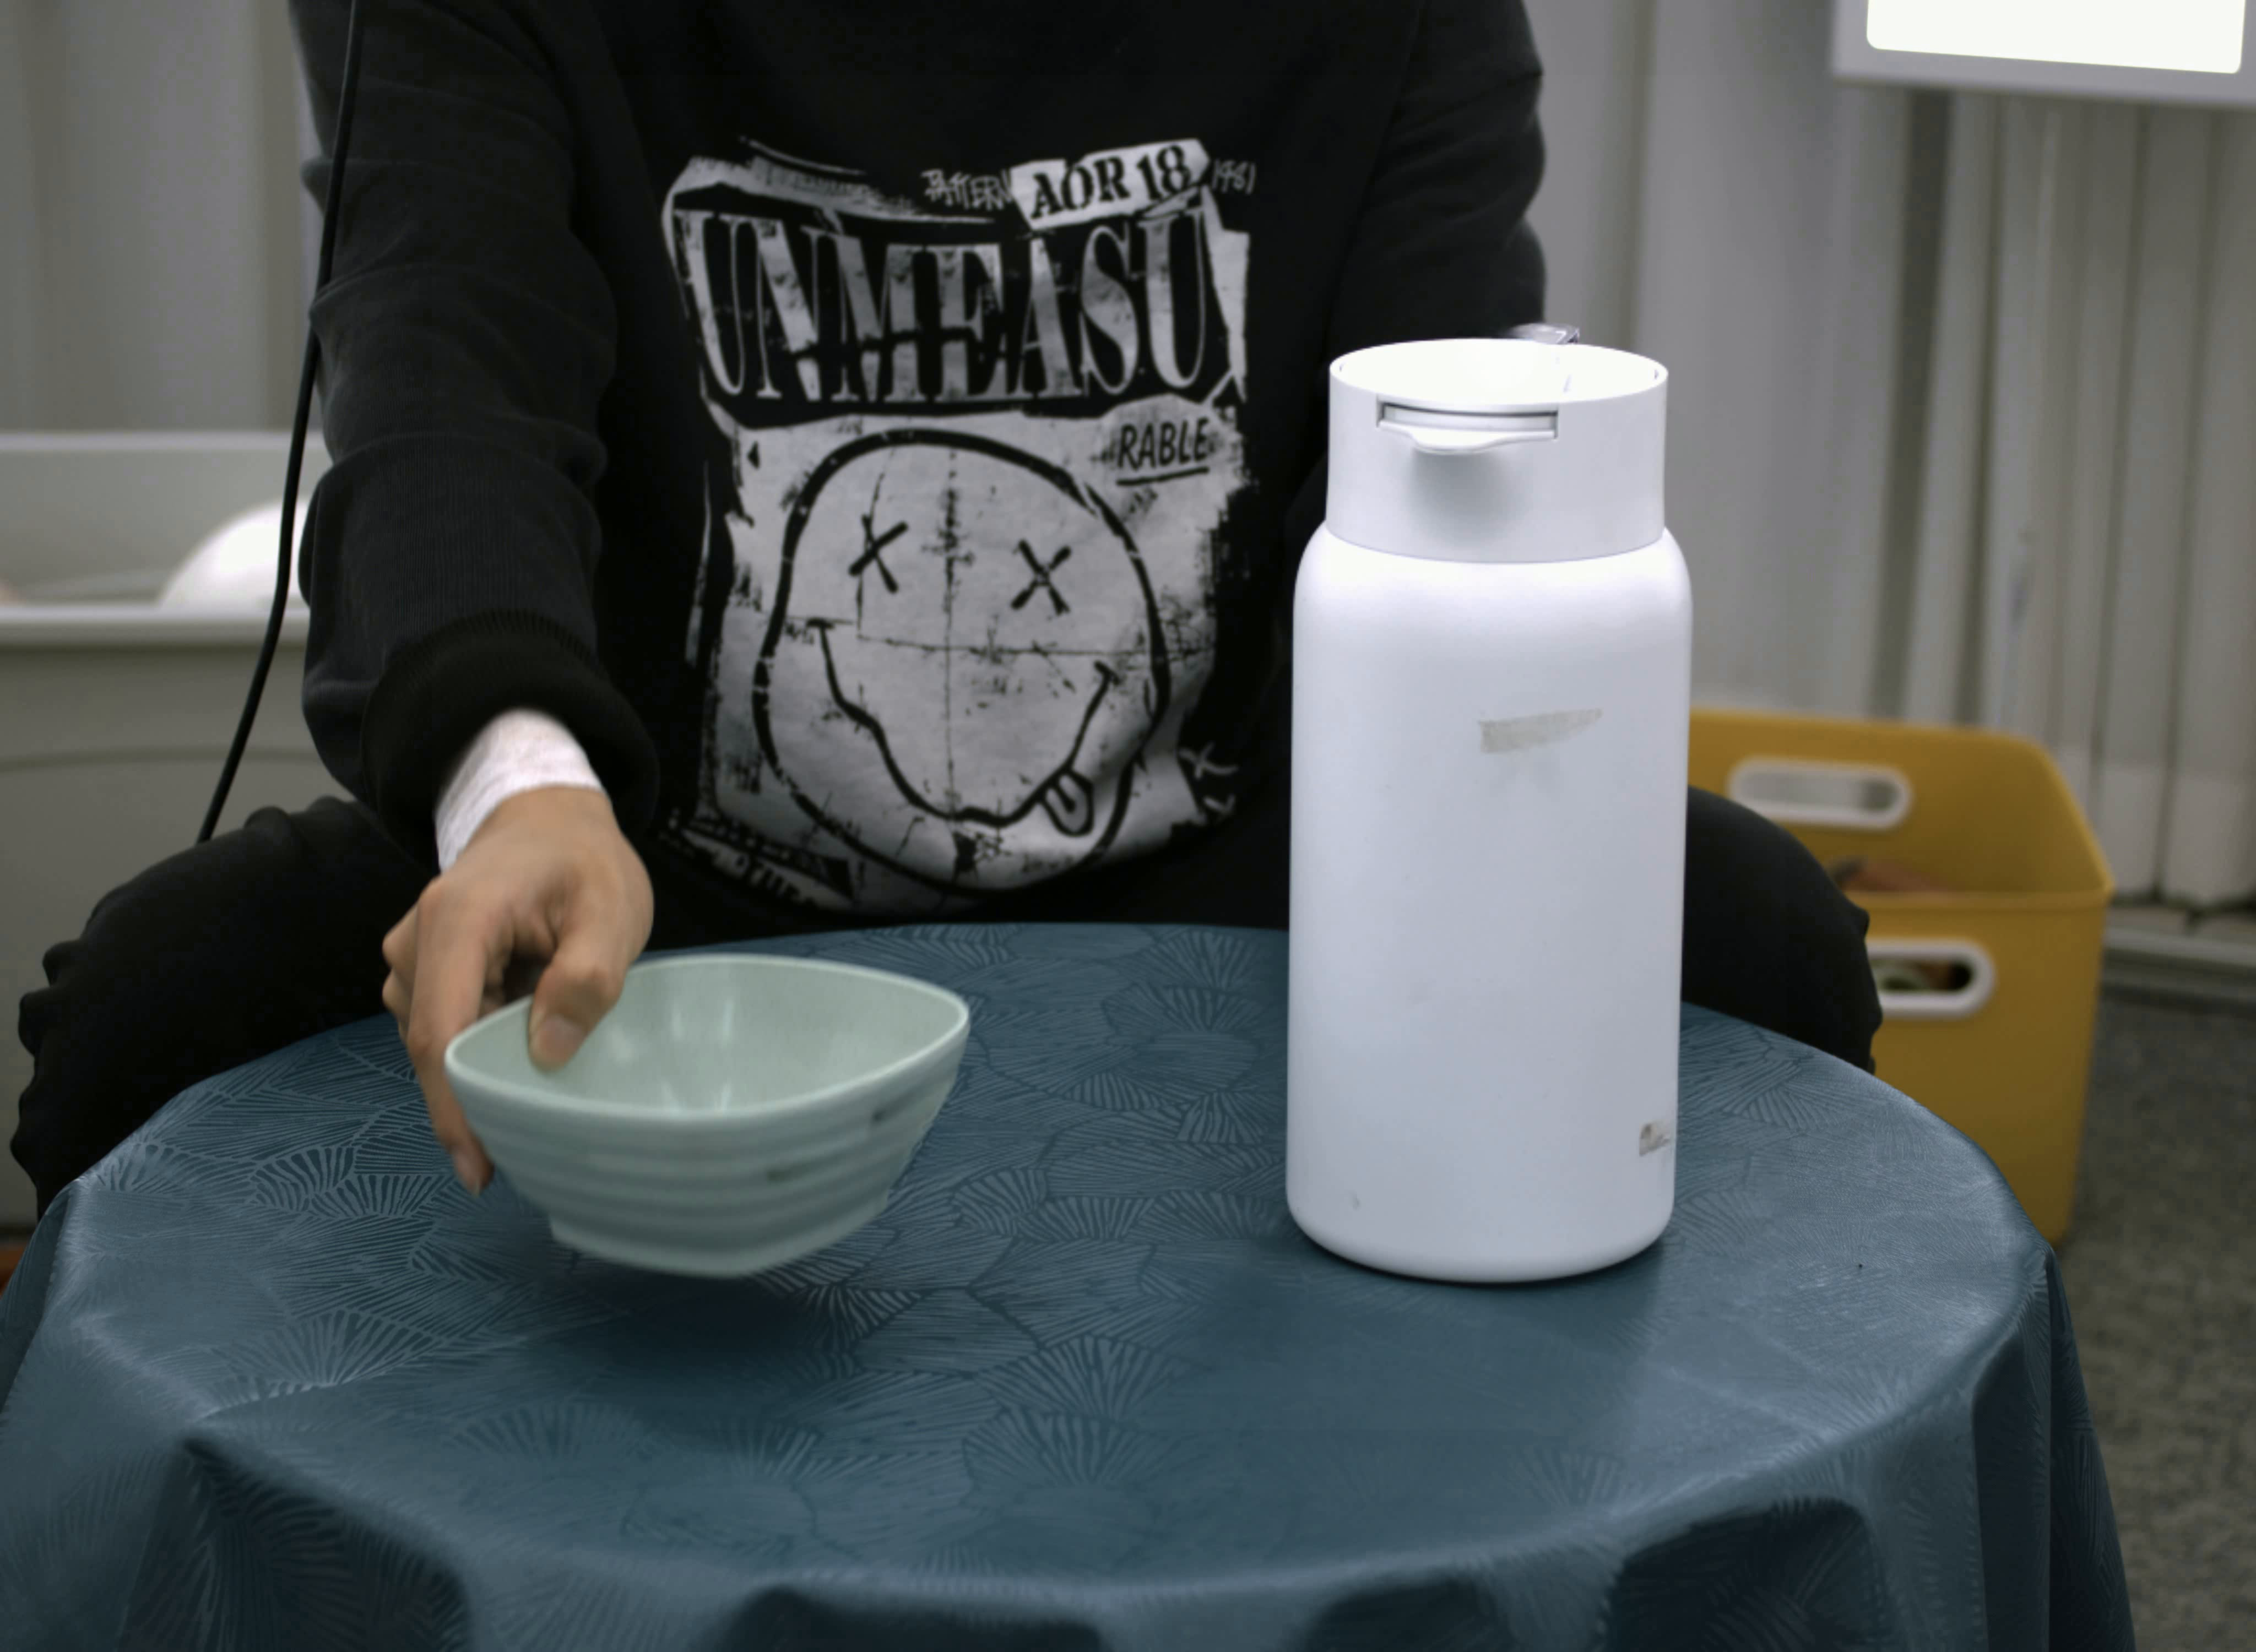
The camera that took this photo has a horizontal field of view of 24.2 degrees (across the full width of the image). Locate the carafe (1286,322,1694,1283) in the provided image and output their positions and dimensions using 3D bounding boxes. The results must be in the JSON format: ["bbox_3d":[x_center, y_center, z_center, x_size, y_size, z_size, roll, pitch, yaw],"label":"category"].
[{"bbox_3d":[0.110,-0.012,1.572,0.123,0.271,0.172,2,16,14],"label":"carafe"}]

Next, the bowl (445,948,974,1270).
[{"bbox_3d":[-0.118,0.083,1.507,0.151,0.059,0.150,-1,15,1],"label":"bowl"}]
